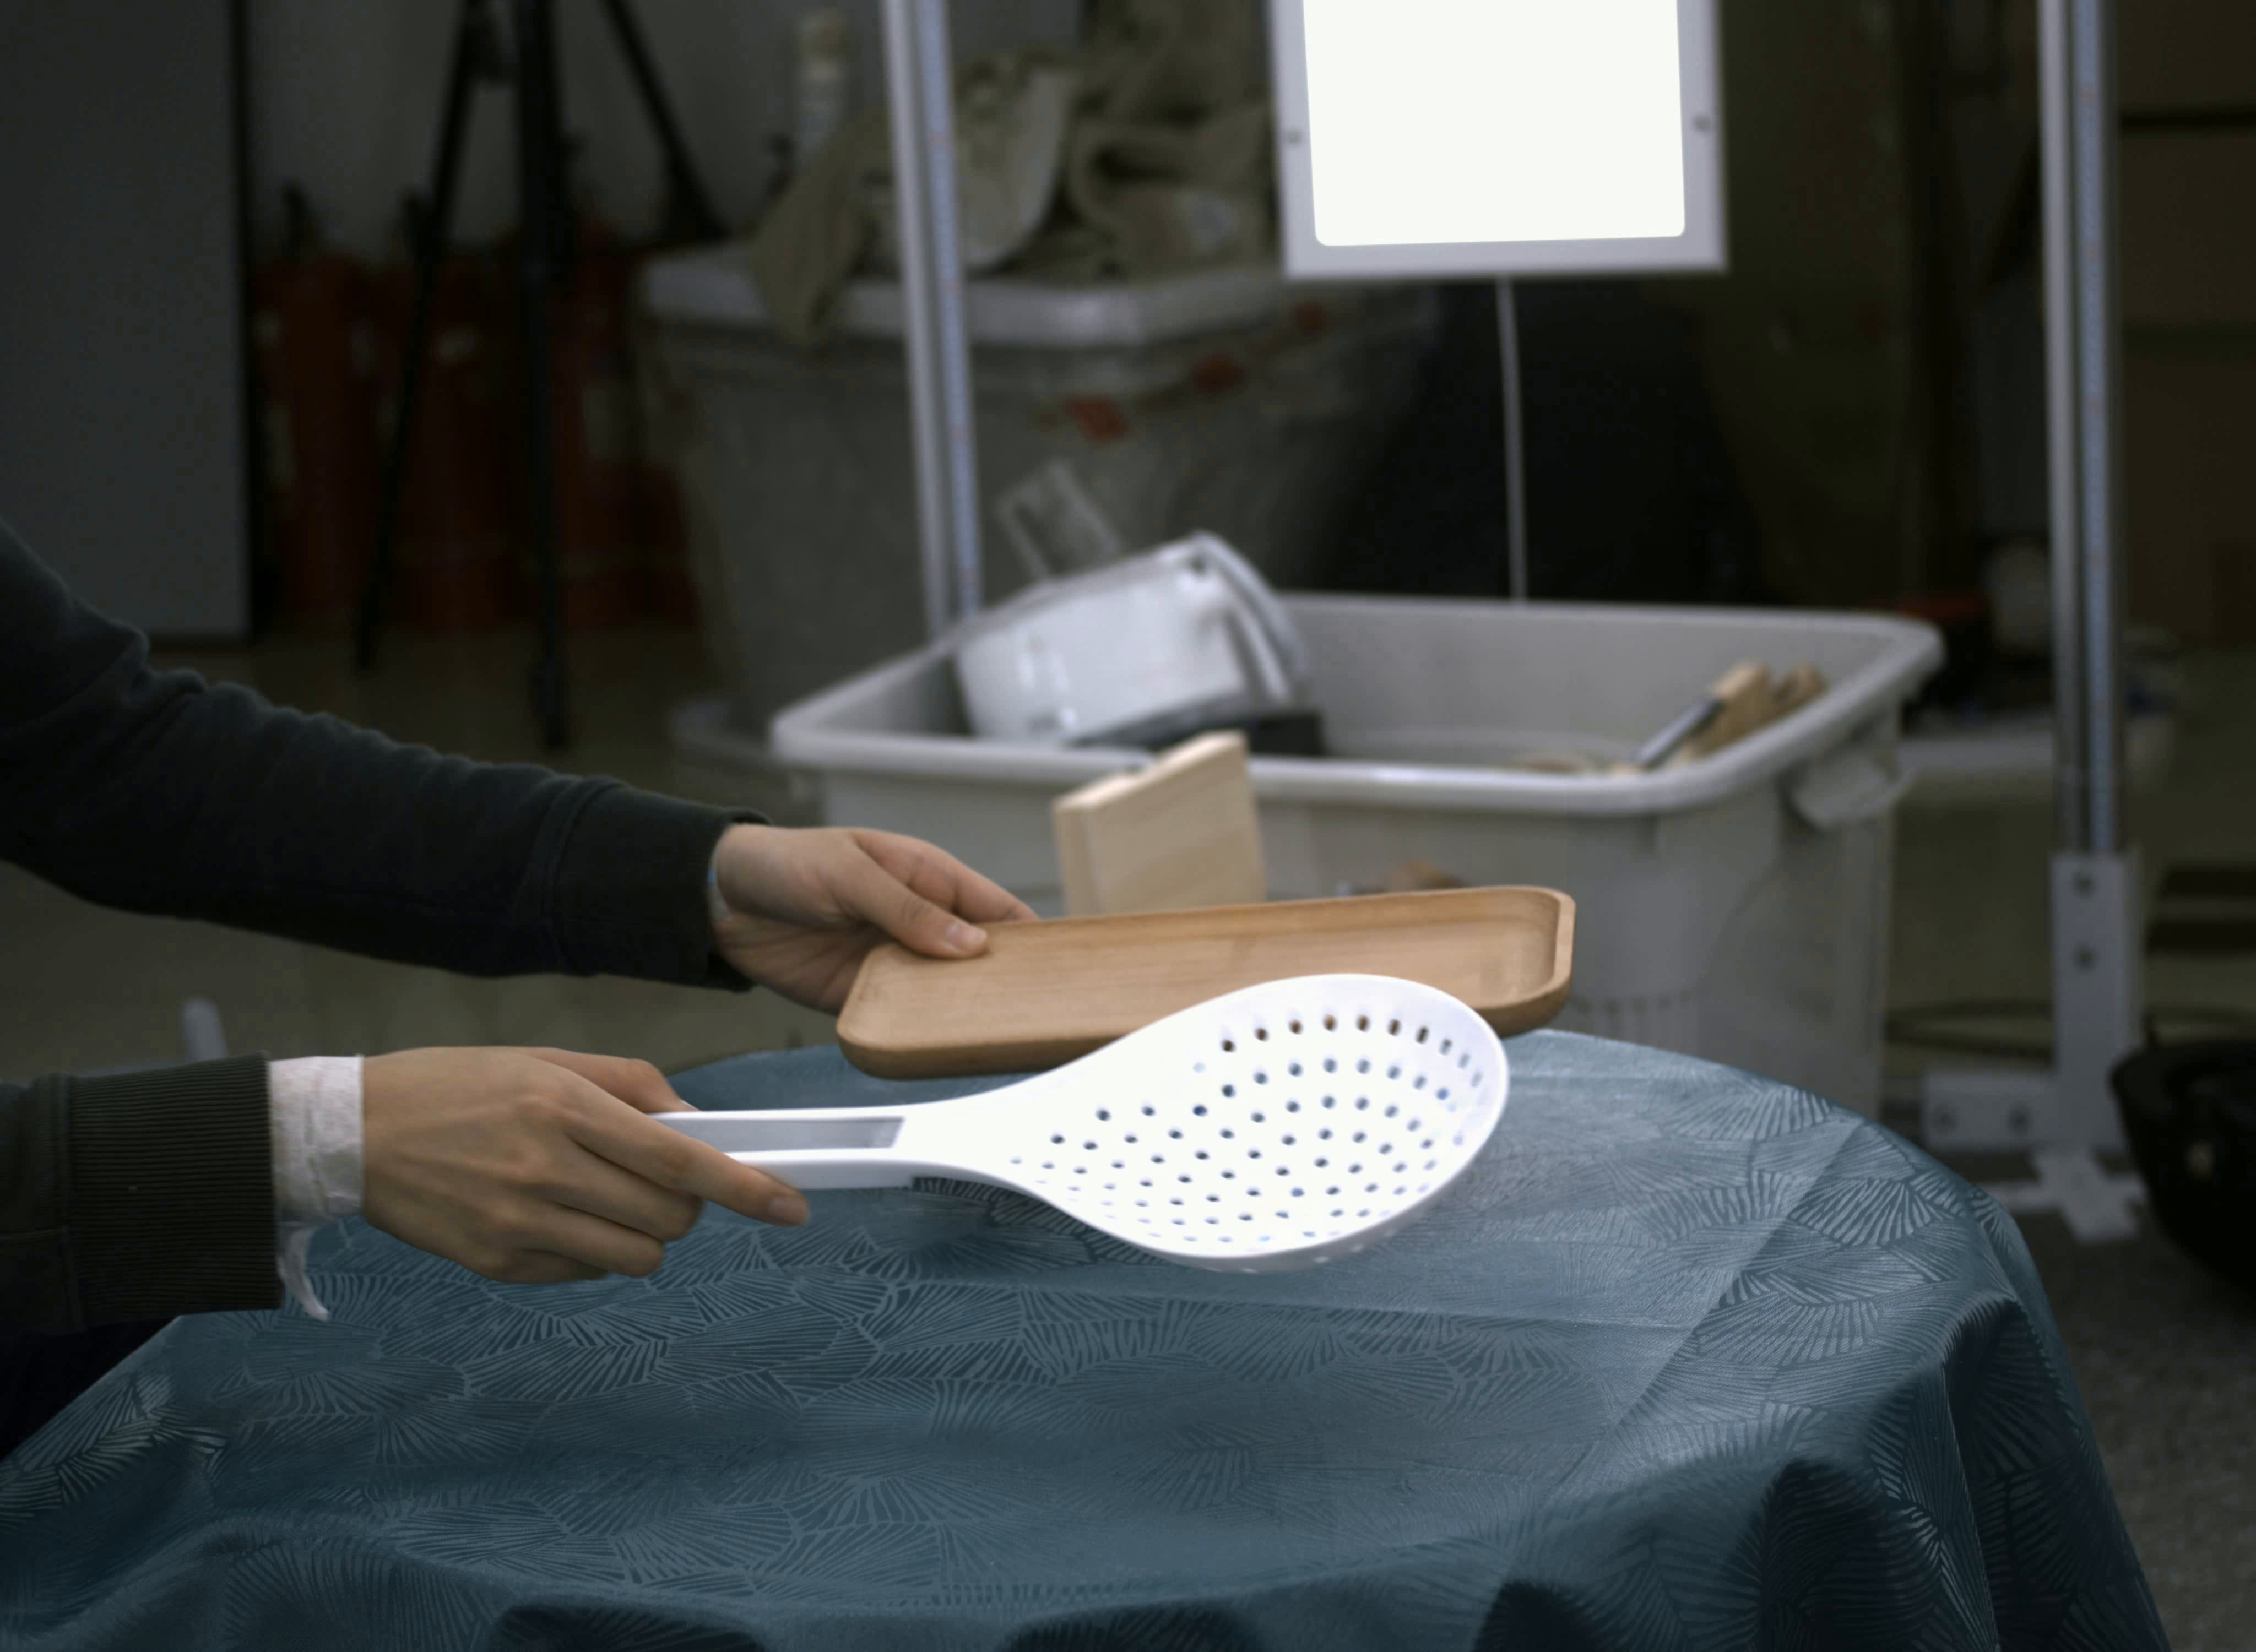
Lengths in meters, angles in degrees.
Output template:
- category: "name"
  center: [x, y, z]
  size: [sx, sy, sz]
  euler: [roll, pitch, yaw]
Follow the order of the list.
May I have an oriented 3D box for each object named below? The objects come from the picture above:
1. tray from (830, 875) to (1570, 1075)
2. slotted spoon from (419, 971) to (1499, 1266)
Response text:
- category: "tray"
  center: [0.027, 0.051, 1.882]
  size: [0.252, 0.023, 0.129]
  euler: [-5, 15, 10]
- category: "slotted spoon"
  center: [-0.056, 0.095, 1.684]
  size: [0.354, 0.046, 0.134]
  euler: [1, 35, 19]
